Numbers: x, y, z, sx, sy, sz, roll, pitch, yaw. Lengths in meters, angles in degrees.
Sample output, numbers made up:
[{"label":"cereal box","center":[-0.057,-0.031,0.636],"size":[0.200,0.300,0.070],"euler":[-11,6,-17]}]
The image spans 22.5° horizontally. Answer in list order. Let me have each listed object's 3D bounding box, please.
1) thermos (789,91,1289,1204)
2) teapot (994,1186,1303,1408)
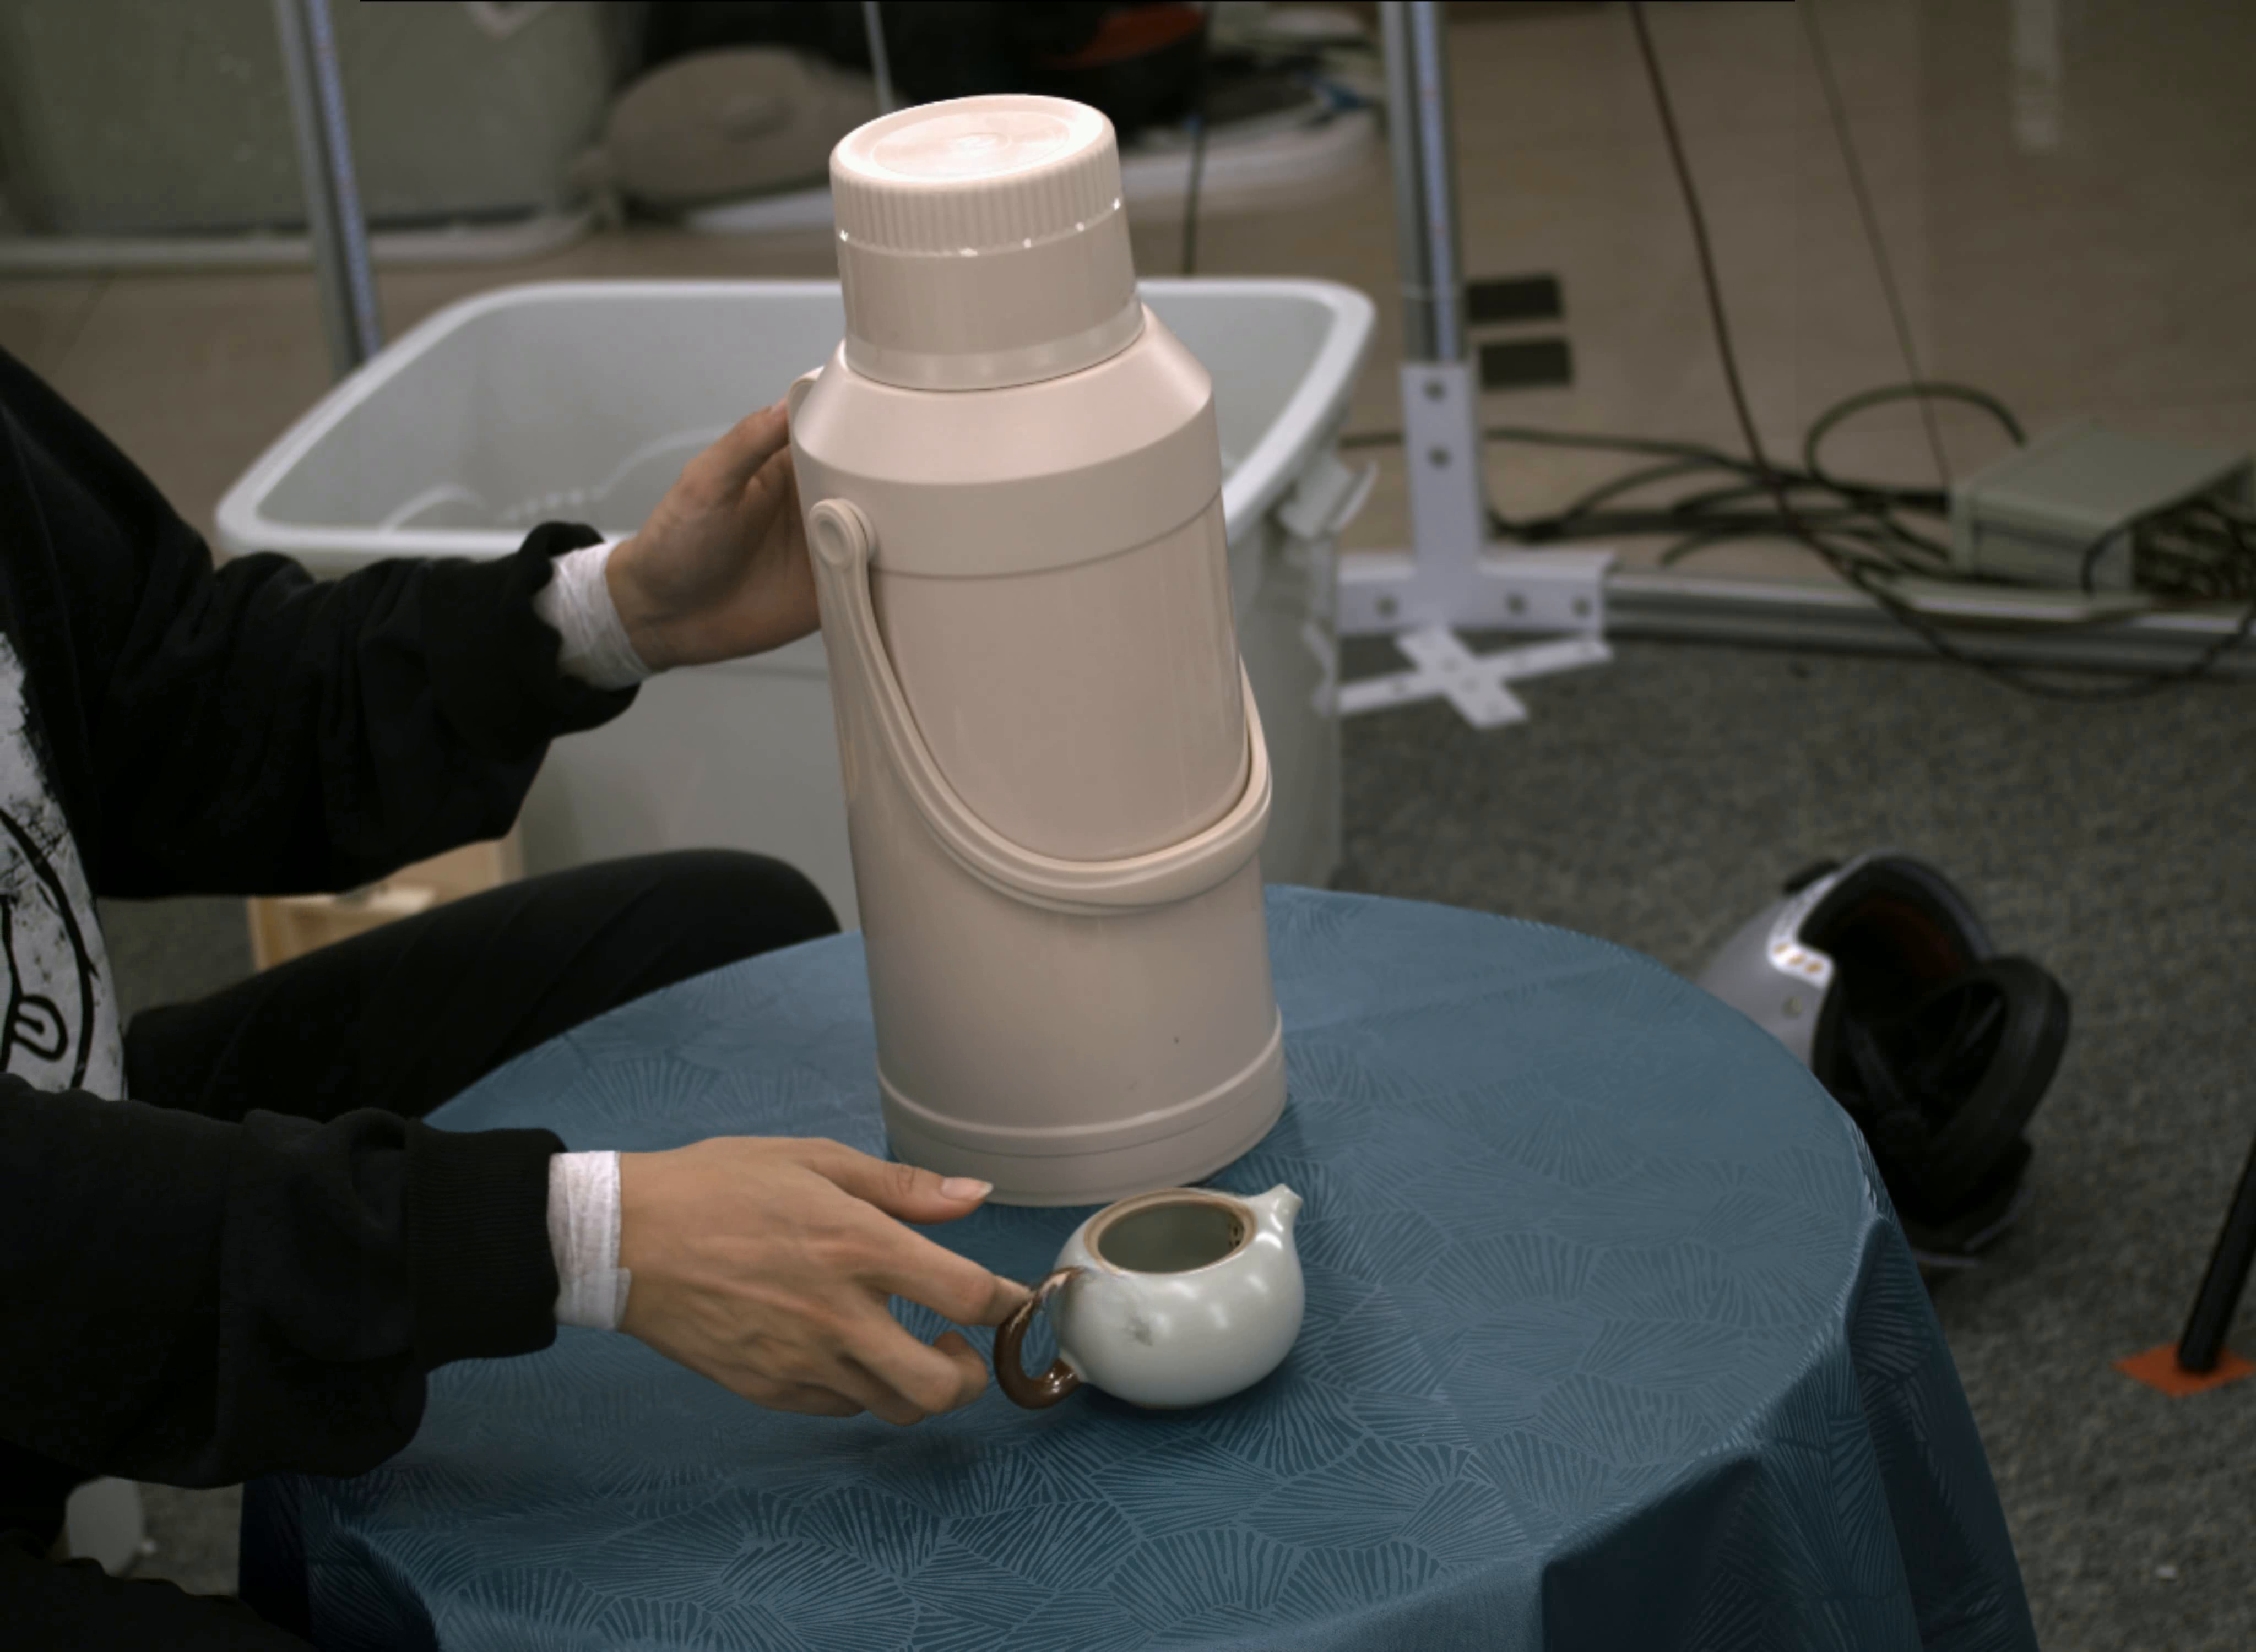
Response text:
[{"label":"thermos","center":[-0.044,-0.072,2.136],"size":[0.174,0.413,0.205],"euler":[-29,34,-35]},{"label":"teapot","center":[0.008,0.171,2.010],"size":[0.127,0.060,0.091],"euler":[-18,31,-27]}]
